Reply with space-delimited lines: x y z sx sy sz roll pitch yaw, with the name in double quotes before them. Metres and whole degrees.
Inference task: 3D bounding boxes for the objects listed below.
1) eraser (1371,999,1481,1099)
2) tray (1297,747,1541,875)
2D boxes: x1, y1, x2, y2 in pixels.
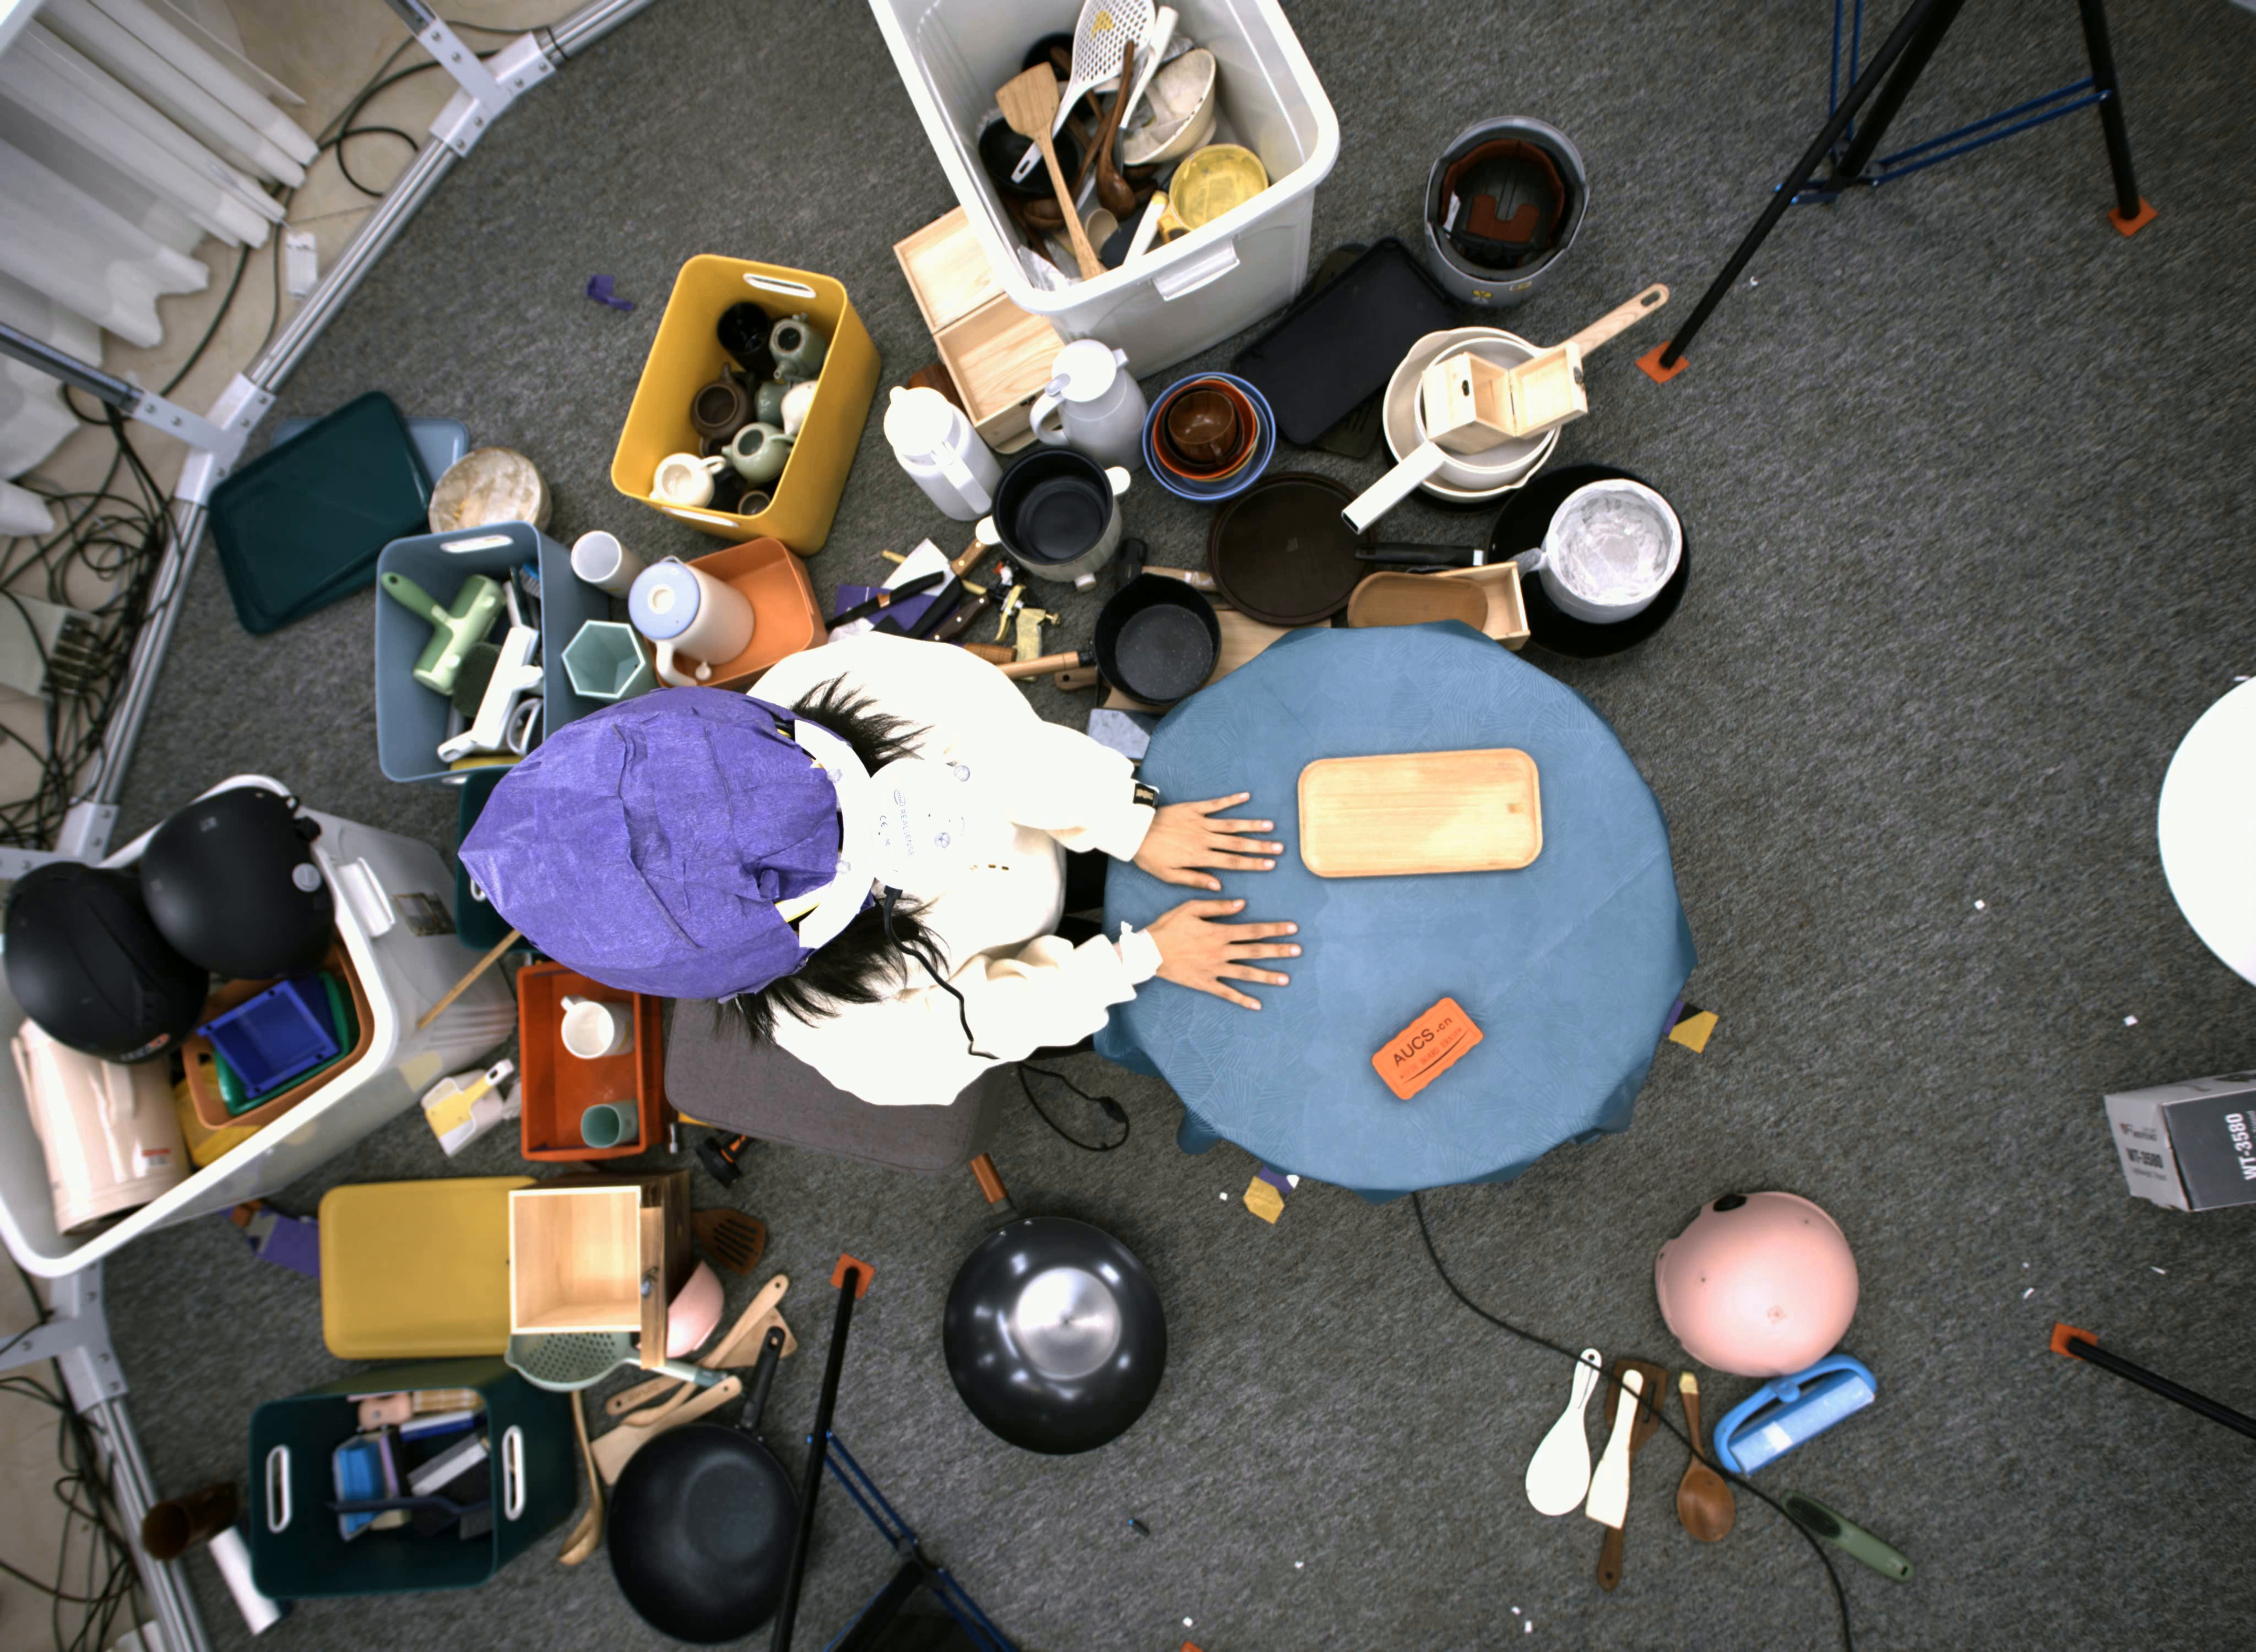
"eraser" 0.309 0.229 1.433 0.108 0.023 0.058 -39 82 6
"tray" 0.304 -0.016 1.449 0.252 0.023 0.129 -2 84 11
